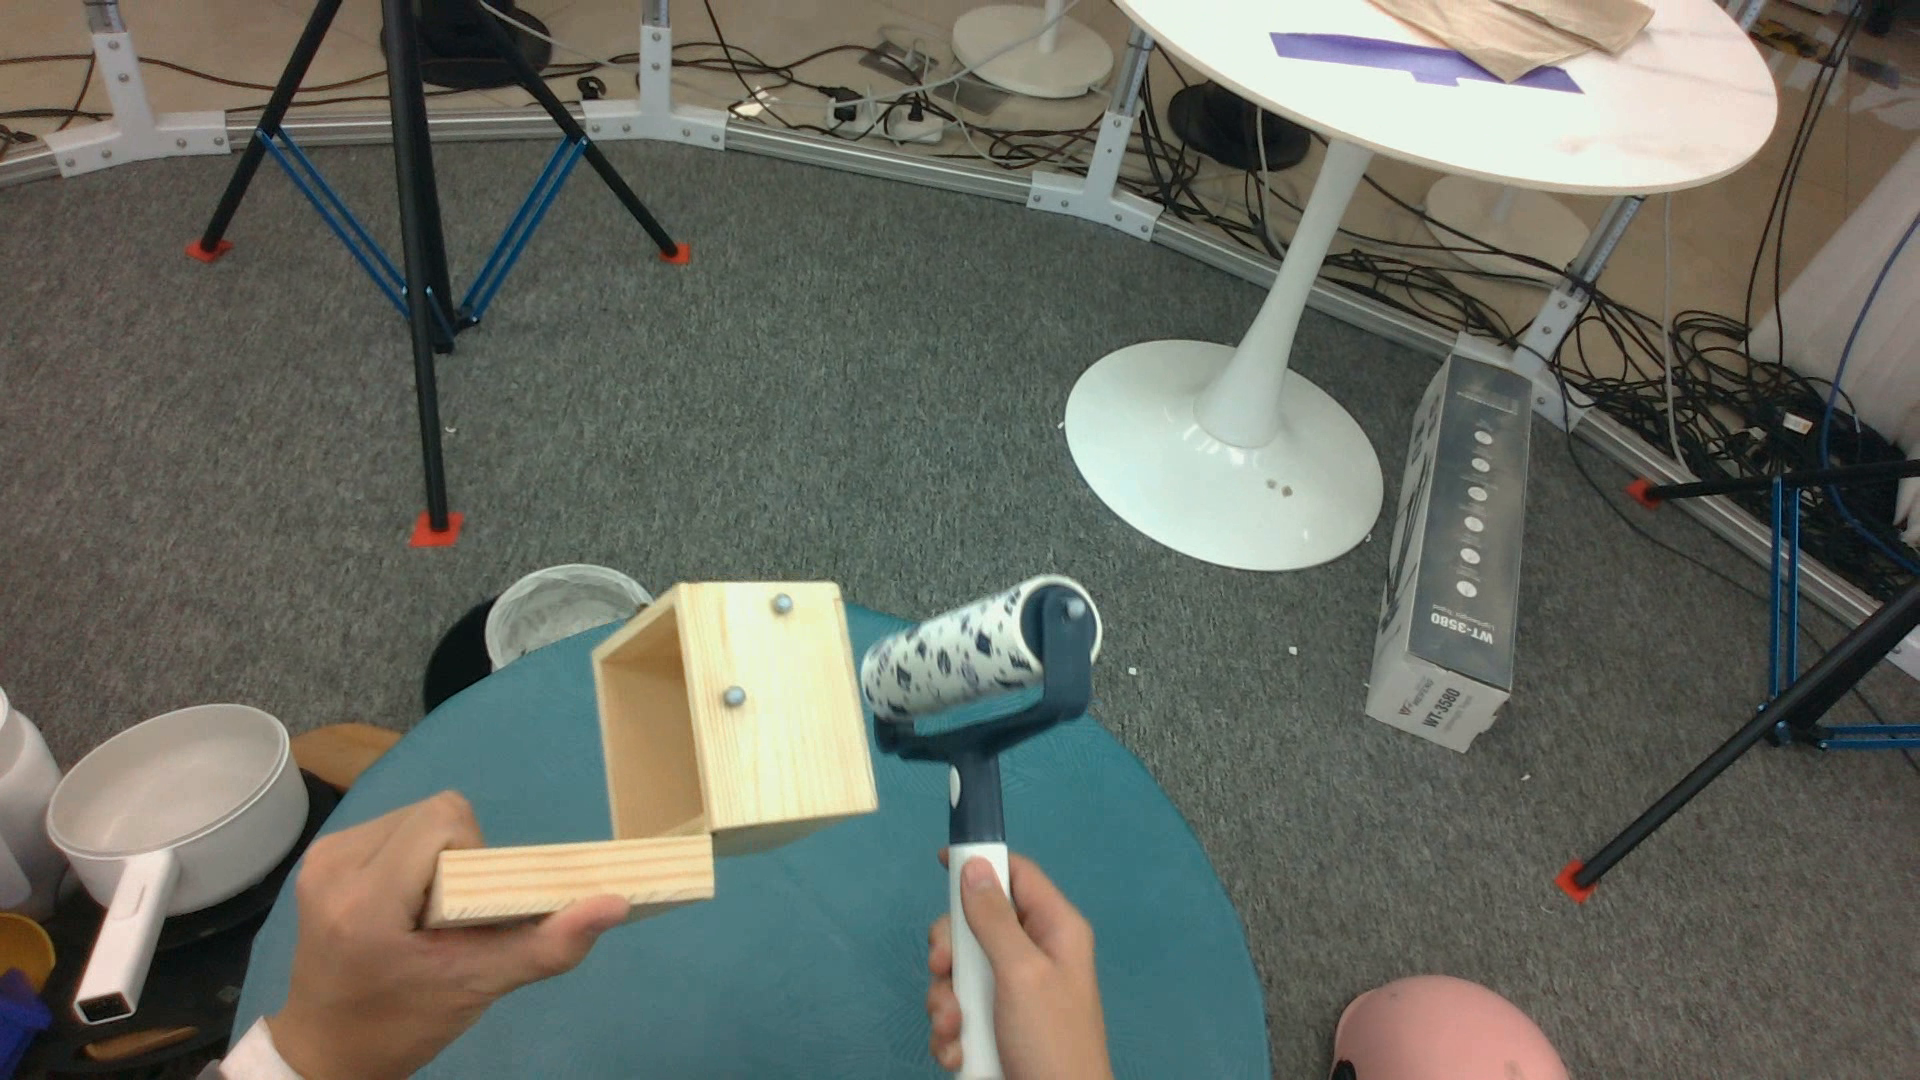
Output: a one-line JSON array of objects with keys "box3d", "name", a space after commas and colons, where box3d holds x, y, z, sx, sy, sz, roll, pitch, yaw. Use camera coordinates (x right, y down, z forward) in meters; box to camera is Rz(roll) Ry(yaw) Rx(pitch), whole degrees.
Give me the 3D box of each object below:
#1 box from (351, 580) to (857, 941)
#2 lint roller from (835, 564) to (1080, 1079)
[{"box3d": [-0.151, 0.088, 0.578, 0.185, 0.102, 0.134, 2, 69, -36], "name": "box"}, {"box3d": [0.000, 0.148, 0.647, 0.050, 0.175, 0.247, 3, 76, -31], "name": "lint roller"}]
